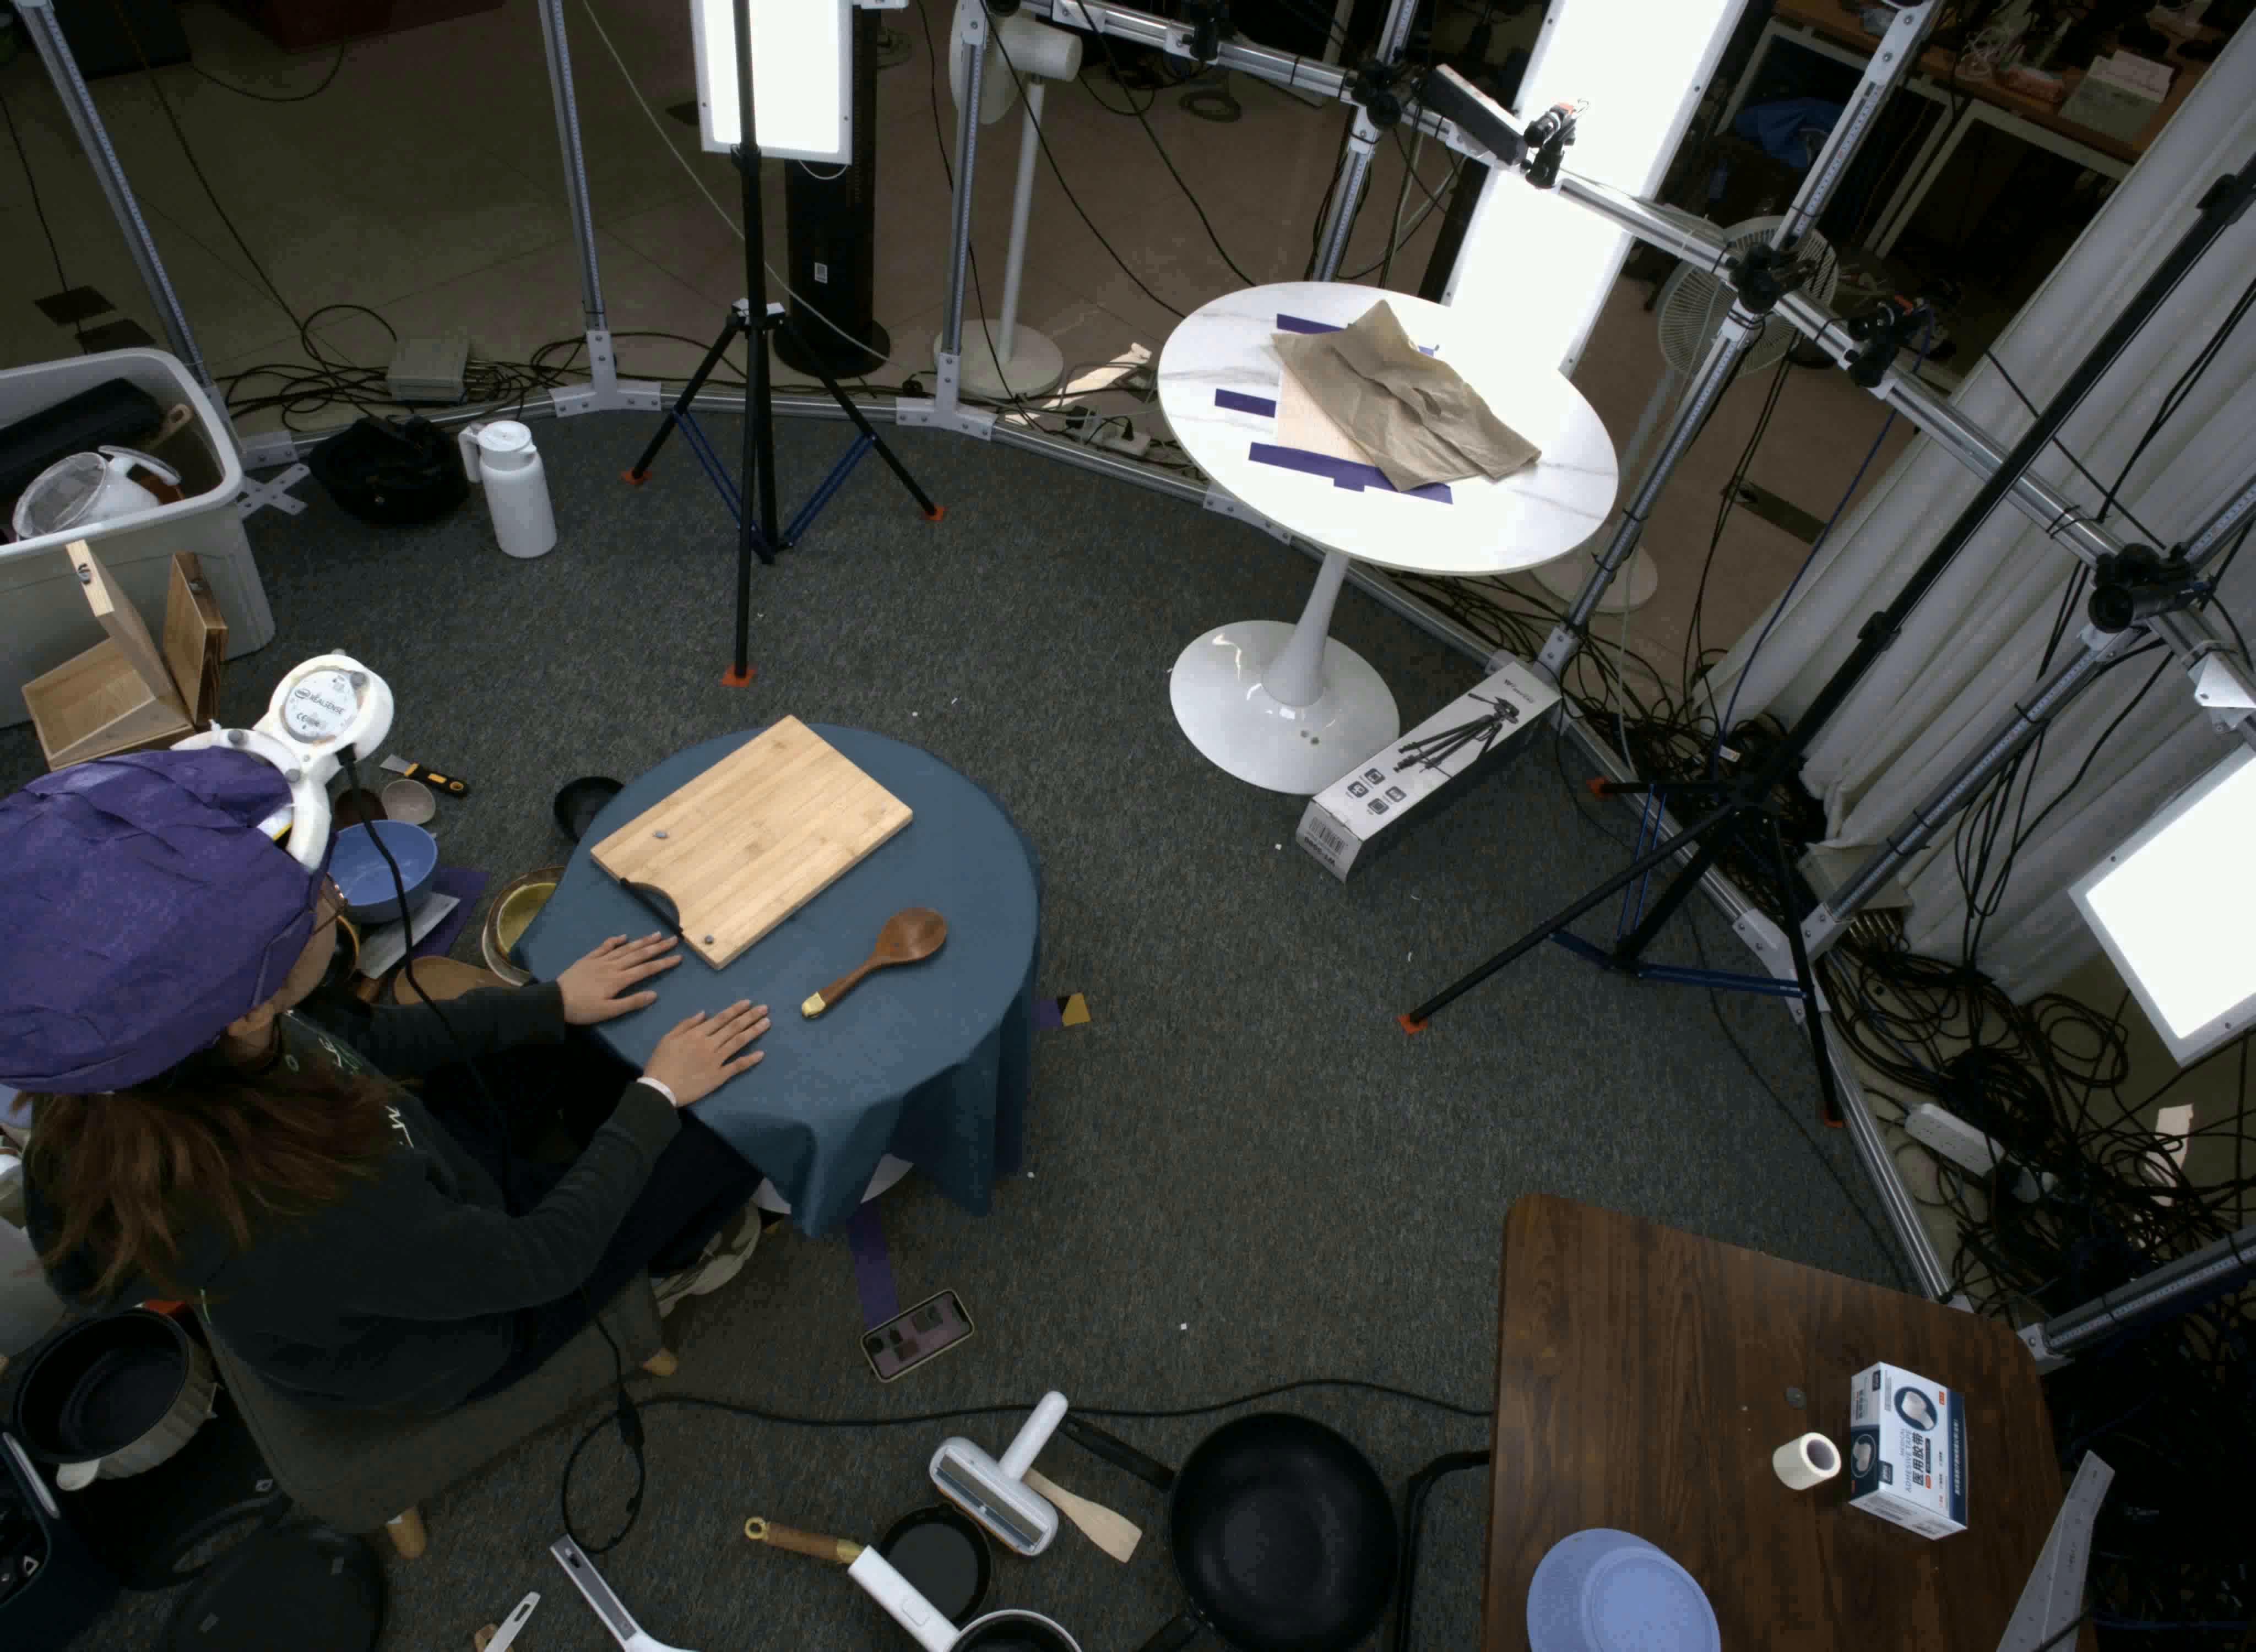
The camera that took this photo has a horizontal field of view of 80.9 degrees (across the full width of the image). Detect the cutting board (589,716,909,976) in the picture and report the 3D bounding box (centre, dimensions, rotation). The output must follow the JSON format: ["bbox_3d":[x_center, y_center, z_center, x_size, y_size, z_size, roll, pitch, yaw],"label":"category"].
[{"bbox_3d":[-0.491,0.014,1.691,0.245,0.024,0.348,36,54,14],"label":"cutting board"}]

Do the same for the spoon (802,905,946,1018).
[{"bbox_3d":[-0.317,0.168,1.620,0.074,0.017,0.216,42,55,16],"label":"spoon"}]
